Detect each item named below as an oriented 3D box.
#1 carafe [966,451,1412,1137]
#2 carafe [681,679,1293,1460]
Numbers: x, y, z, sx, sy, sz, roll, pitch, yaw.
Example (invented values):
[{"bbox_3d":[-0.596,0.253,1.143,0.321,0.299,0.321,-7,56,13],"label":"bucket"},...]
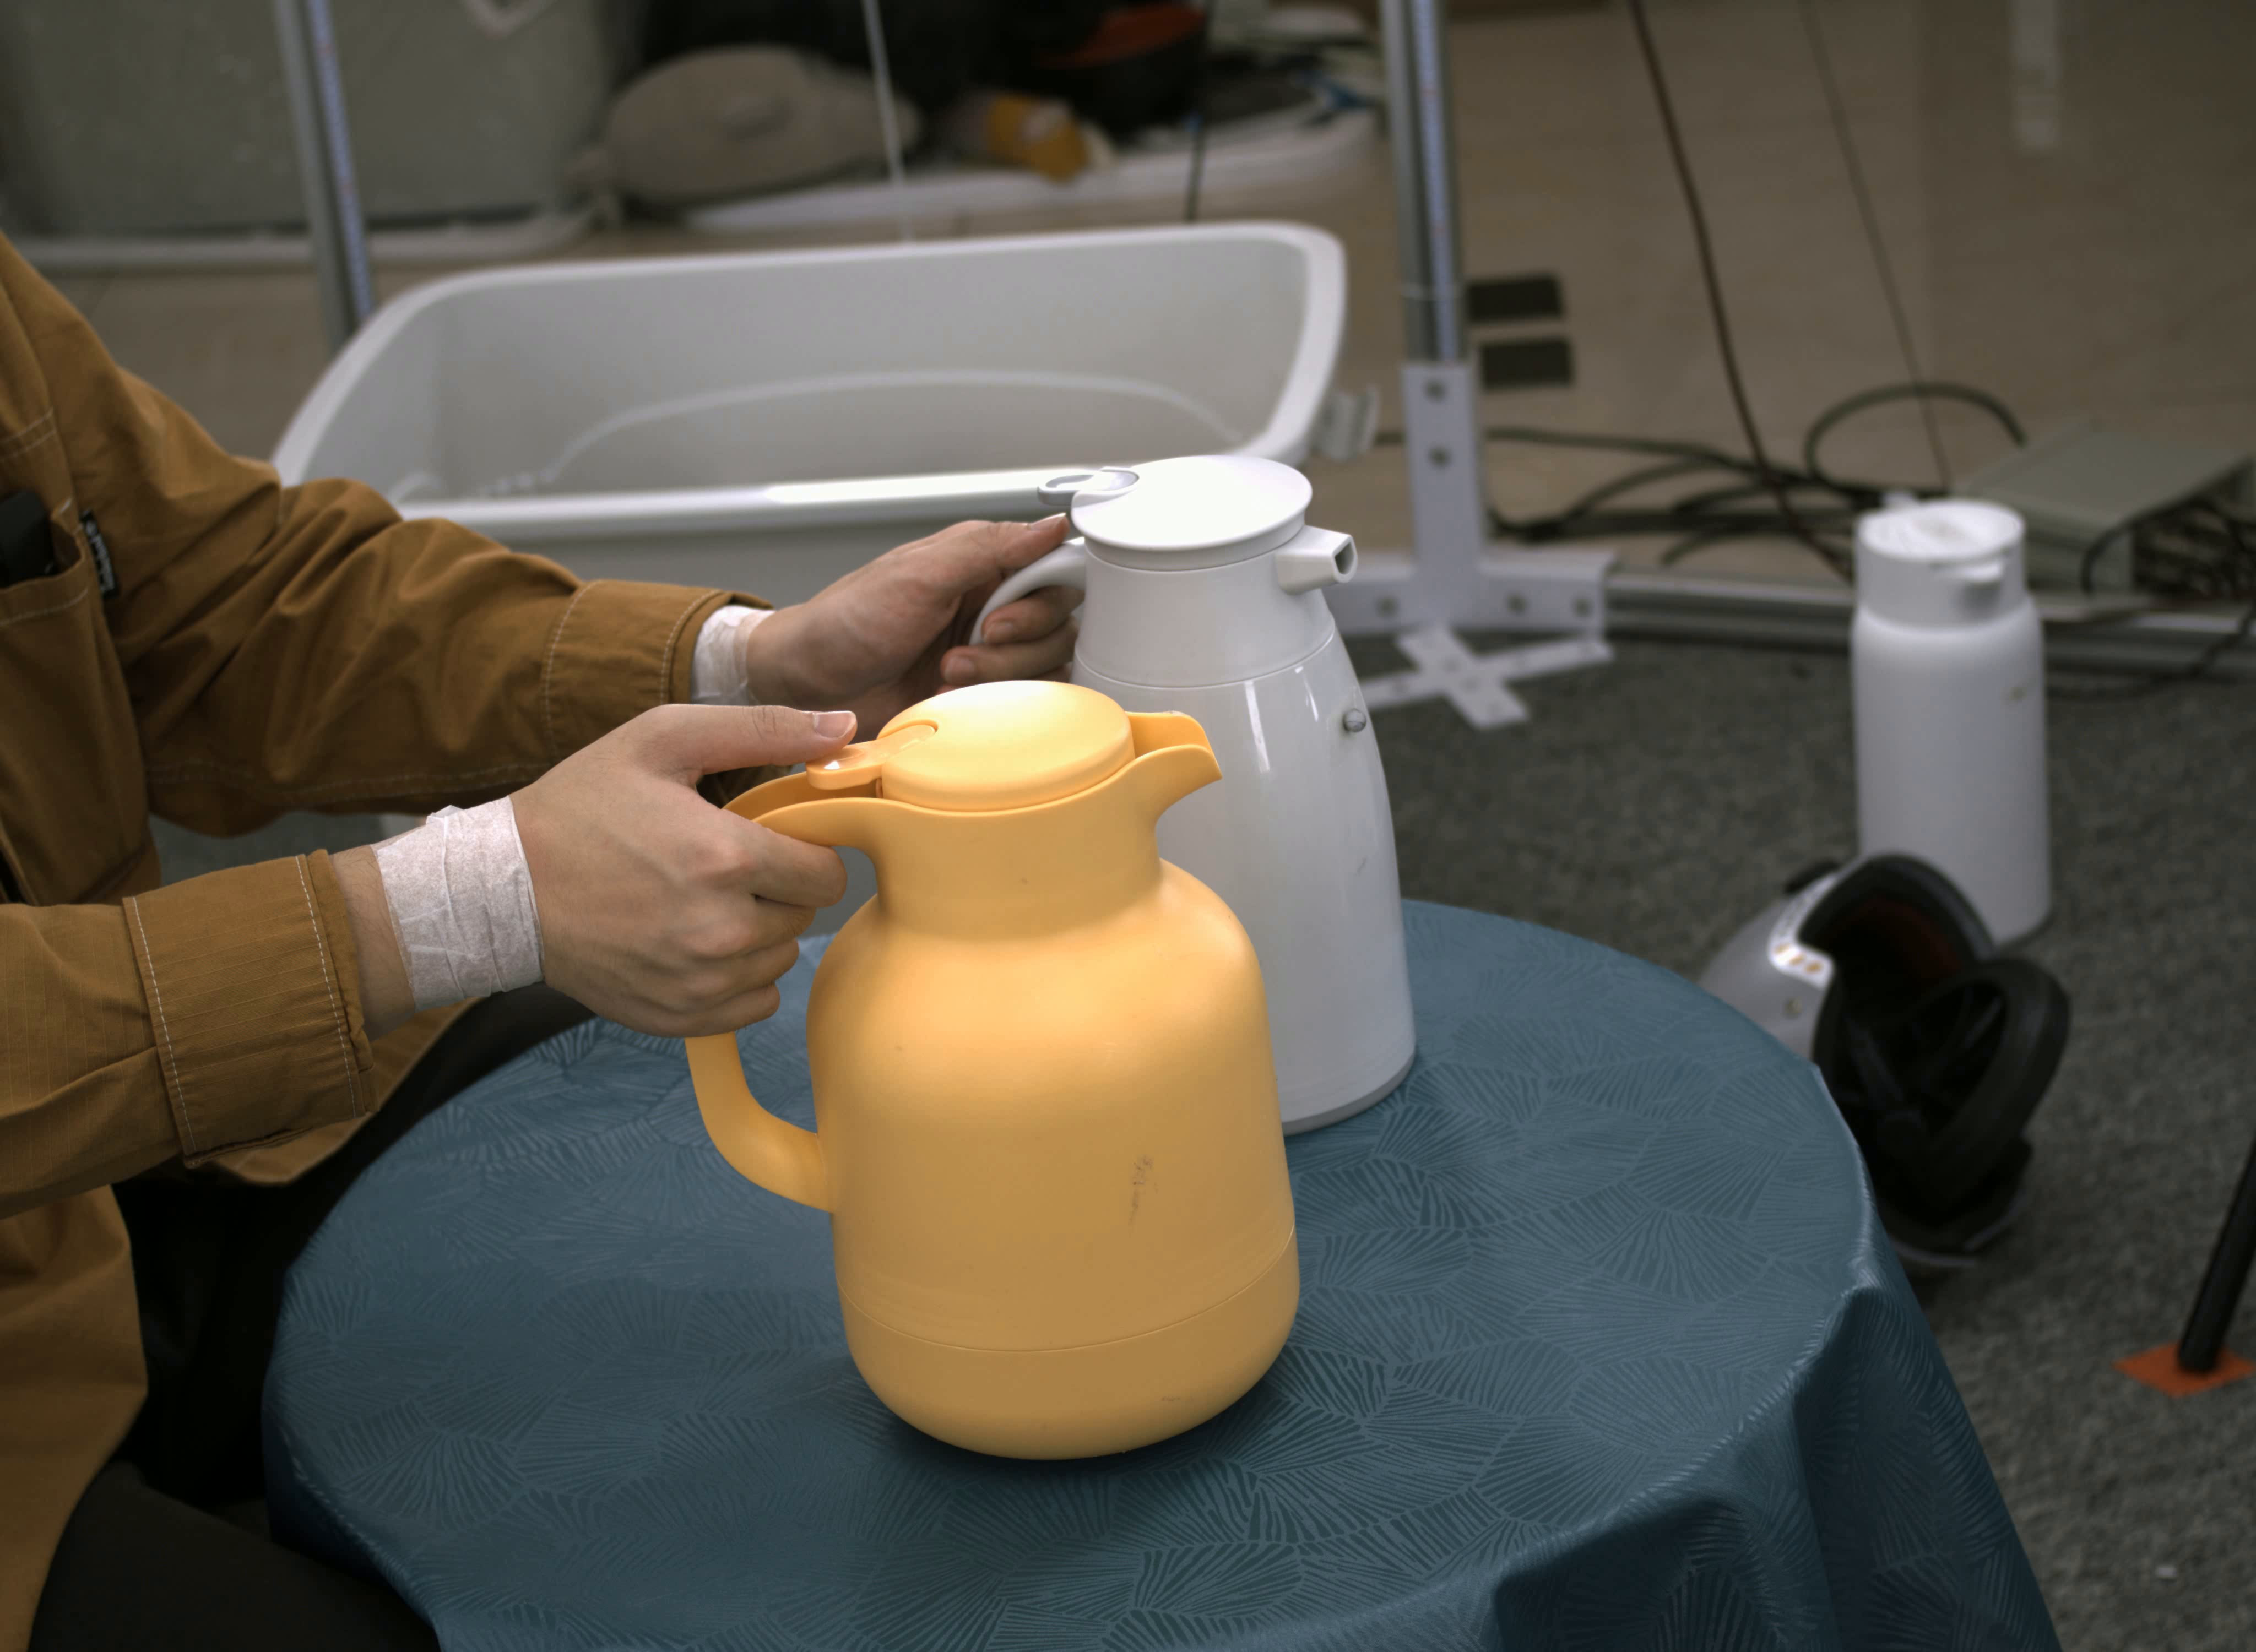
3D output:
[{"bbox_3d":[0.018,-0.020,2.186,0.167,0.252,0.131,6,28,25],"label":"carafe"},{"bbox_3d":[-0.049,0.082,1.972,0.202,0.264,0.161,-7,24,-3],"label":"carafe"}]
